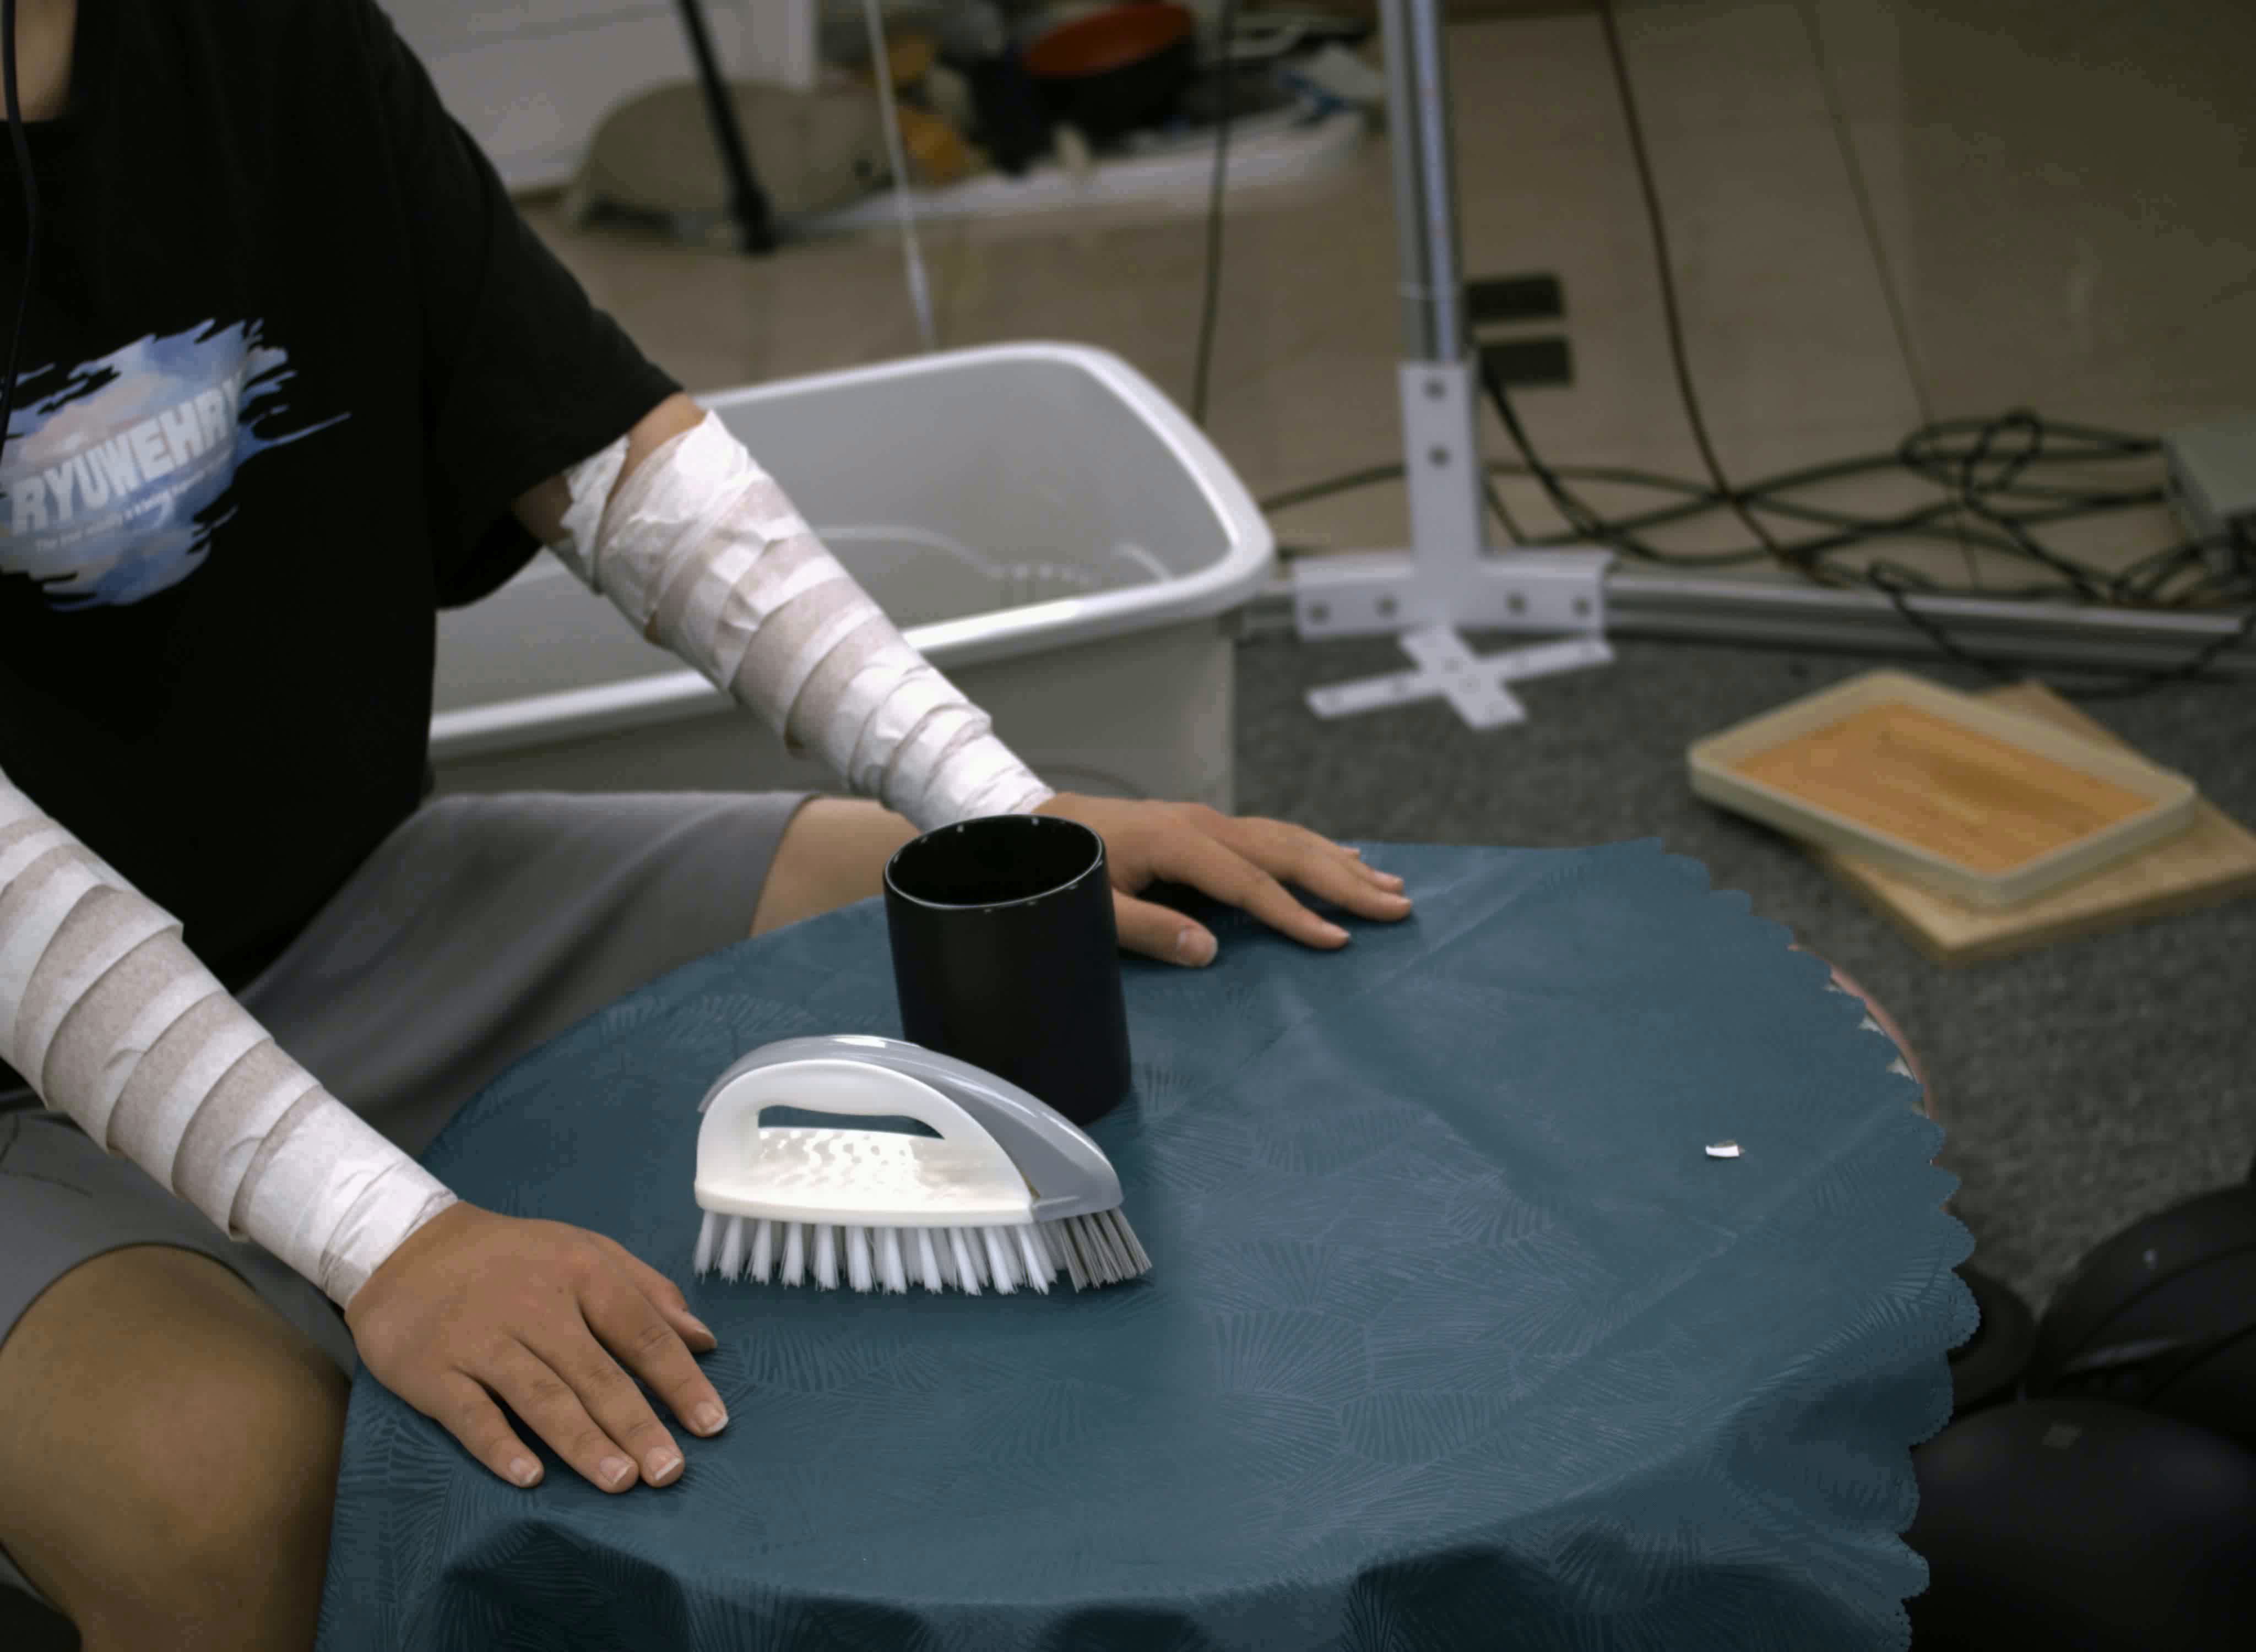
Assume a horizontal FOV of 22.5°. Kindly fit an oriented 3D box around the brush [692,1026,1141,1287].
[{"bbox_3d":[-0.080,0.120,2.099,0.175,0.096,0.060,6,30,21],"label":"brush"}]

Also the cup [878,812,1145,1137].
[{"bbox_3d":[-0.053,0.054,2.224,0.088,0.107,0.122,-23,28,-22],"label":"cup"}]
